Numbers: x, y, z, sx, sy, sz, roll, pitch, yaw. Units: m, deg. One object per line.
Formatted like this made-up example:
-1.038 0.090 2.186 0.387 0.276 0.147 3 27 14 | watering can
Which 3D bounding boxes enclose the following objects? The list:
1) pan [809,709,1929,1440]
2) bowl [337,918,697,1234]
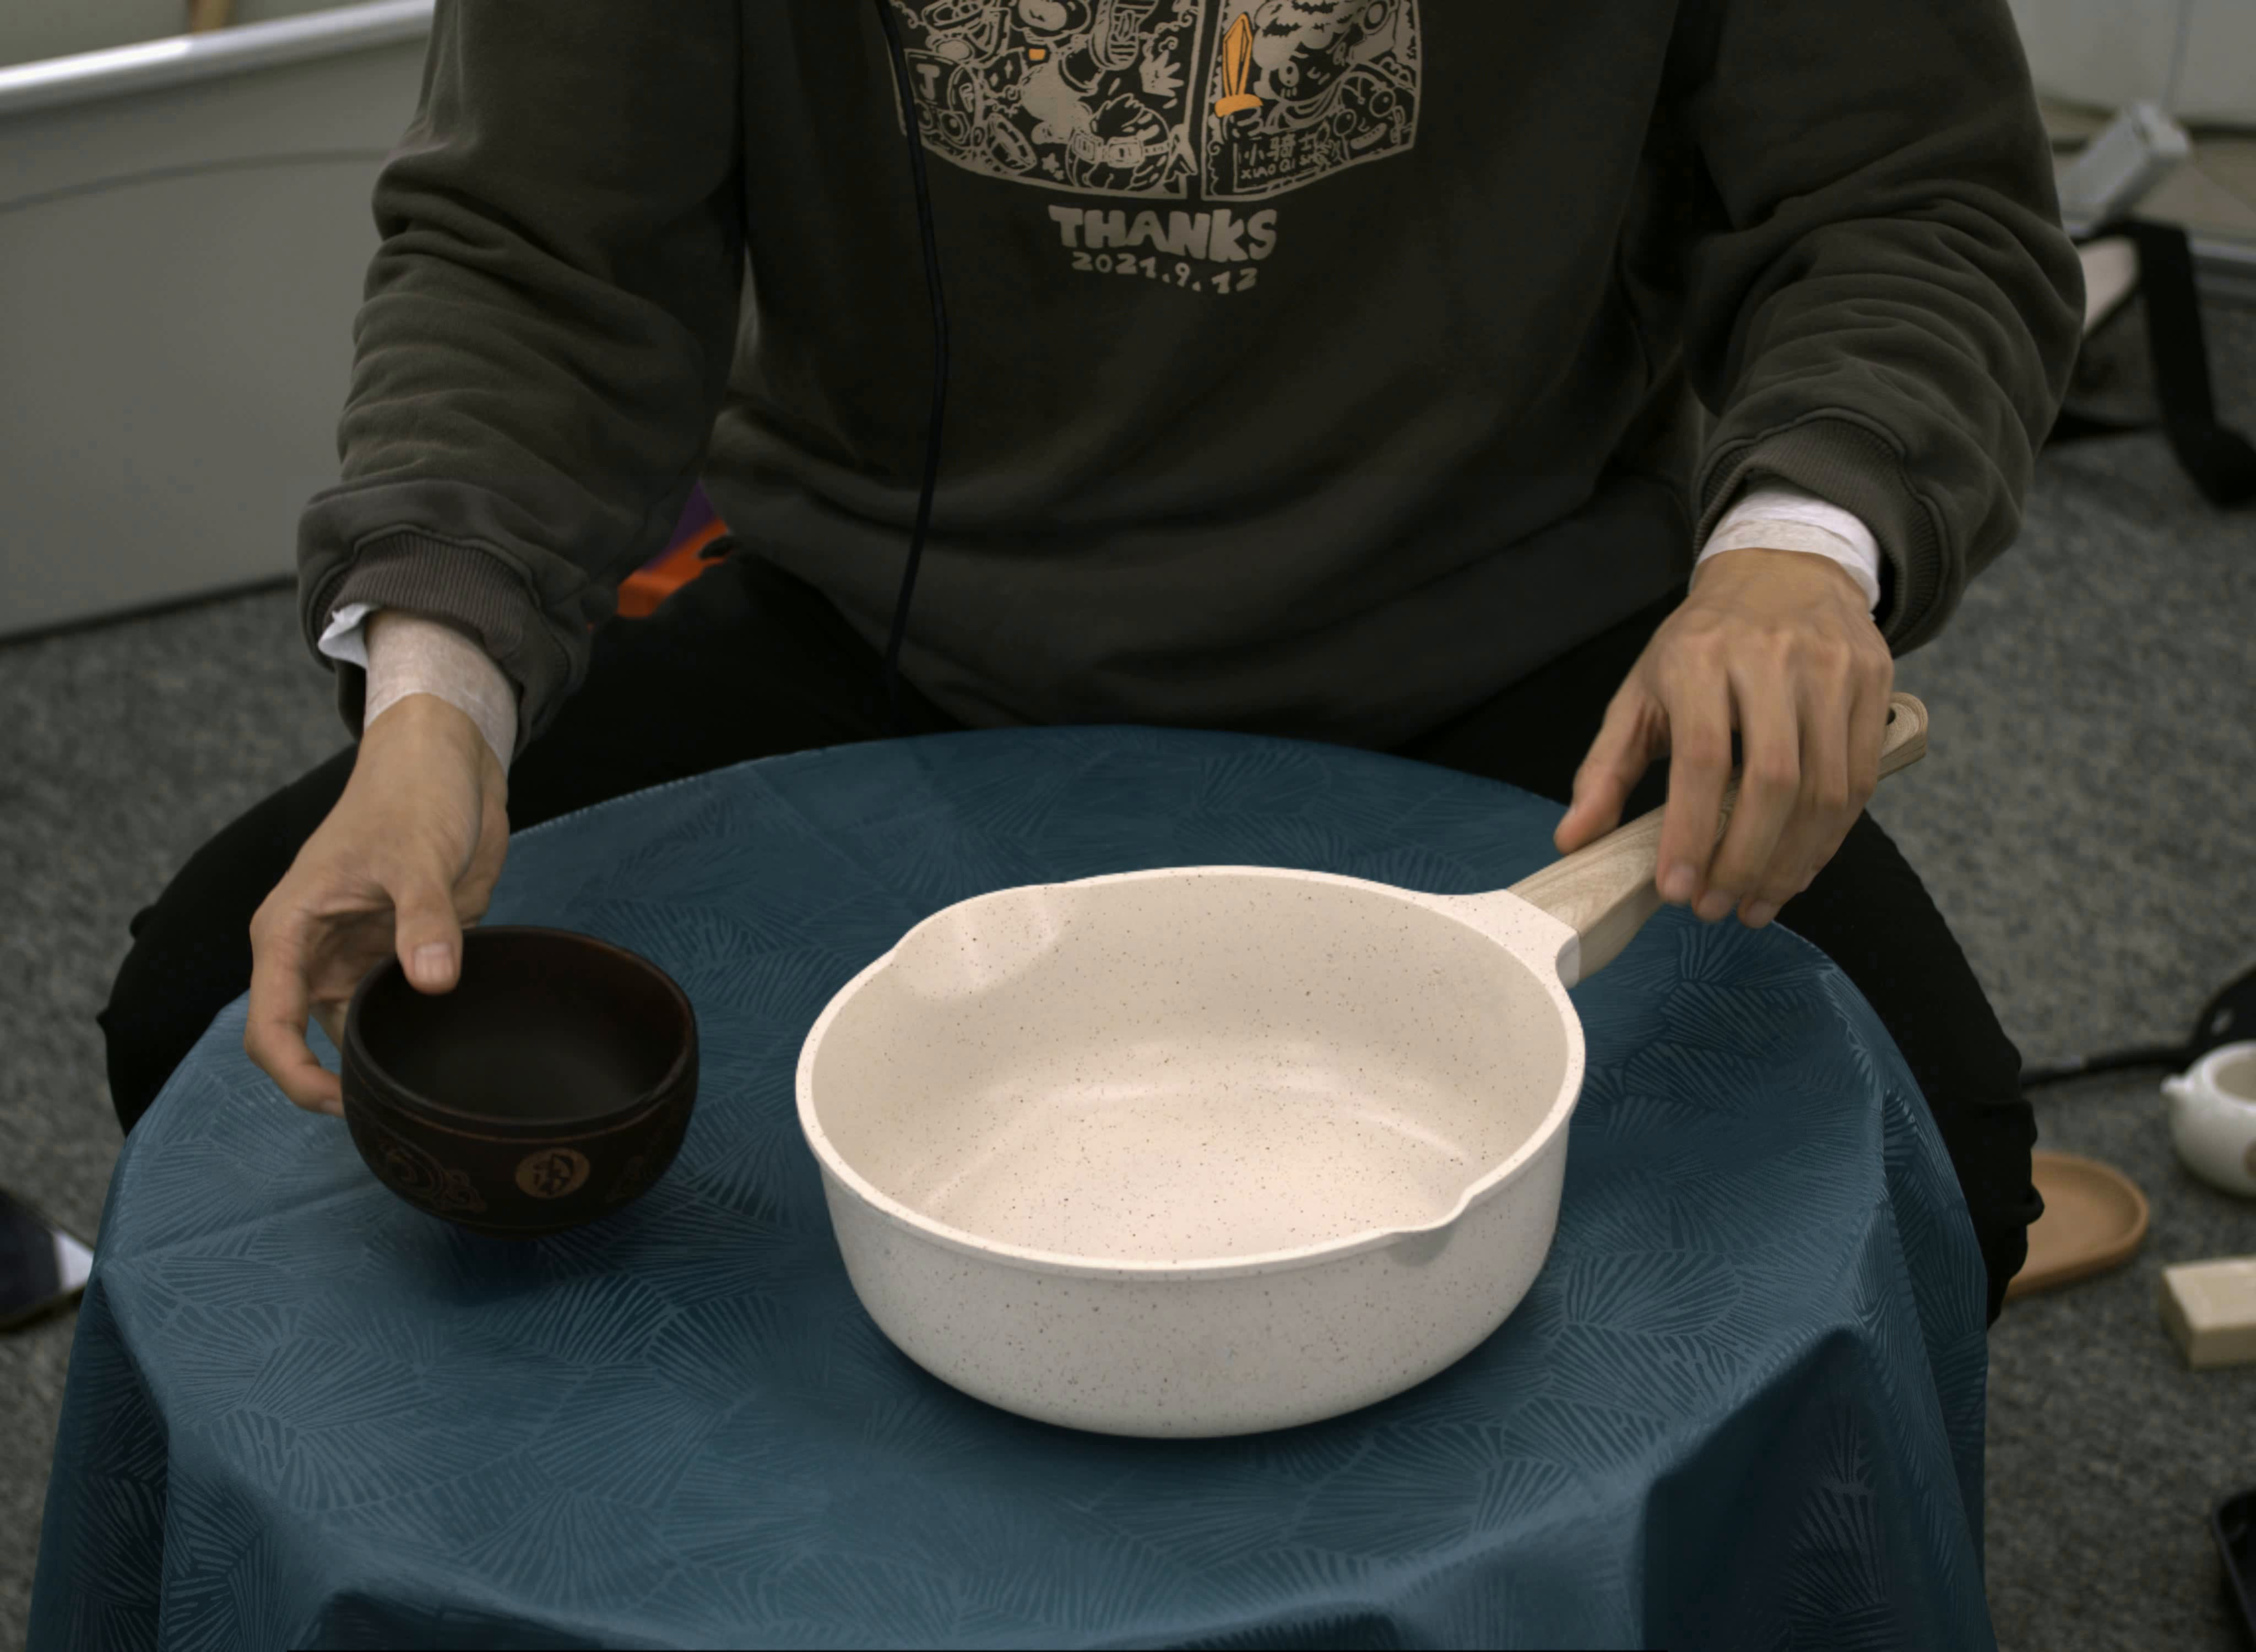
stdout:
0.100 0.074 1.837 0.438 0.101 0.263 -21 30 -31 | pan
-0.201 0.090 1.843 0.117 0.069 0.120 5 30 -3 | bowl
